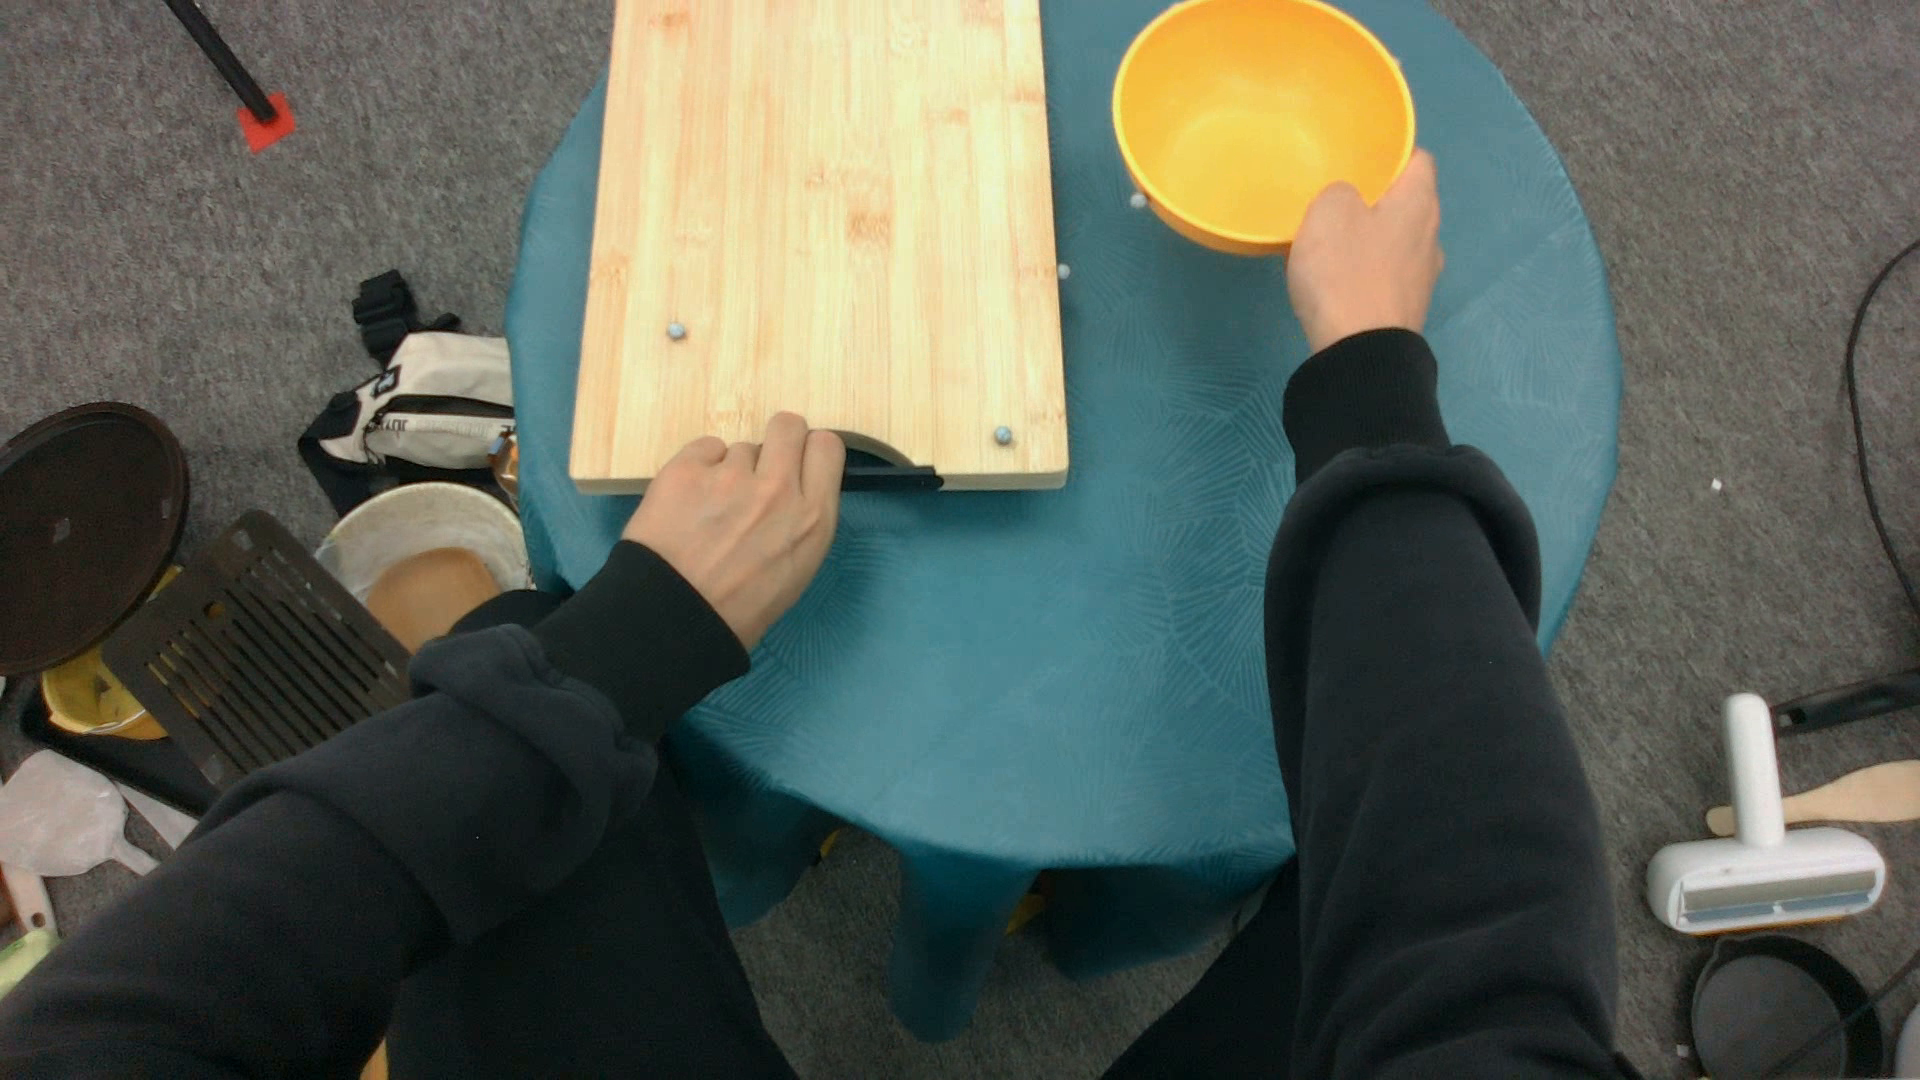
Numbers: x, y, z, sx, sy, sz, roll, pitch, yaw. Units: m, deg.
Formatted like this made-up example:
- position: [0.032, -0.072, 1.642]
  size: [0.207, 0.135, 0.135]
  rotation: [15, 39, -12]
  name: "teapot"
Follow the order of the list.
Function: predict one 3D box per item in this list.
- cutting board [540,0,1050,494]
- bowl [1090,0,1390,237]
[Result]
- position: [-0.082, -0.183, 0.735]
  size: [0.251, 0.023, 0.350]
  rotation: [-2, 65, -3]
  name: "cutting board"
- position: [0.135, -0.207, 0.690]
  size: [0.145, 0.060, 0.145]
  rotation: [0, 73, -1]
  name: "bowl"
